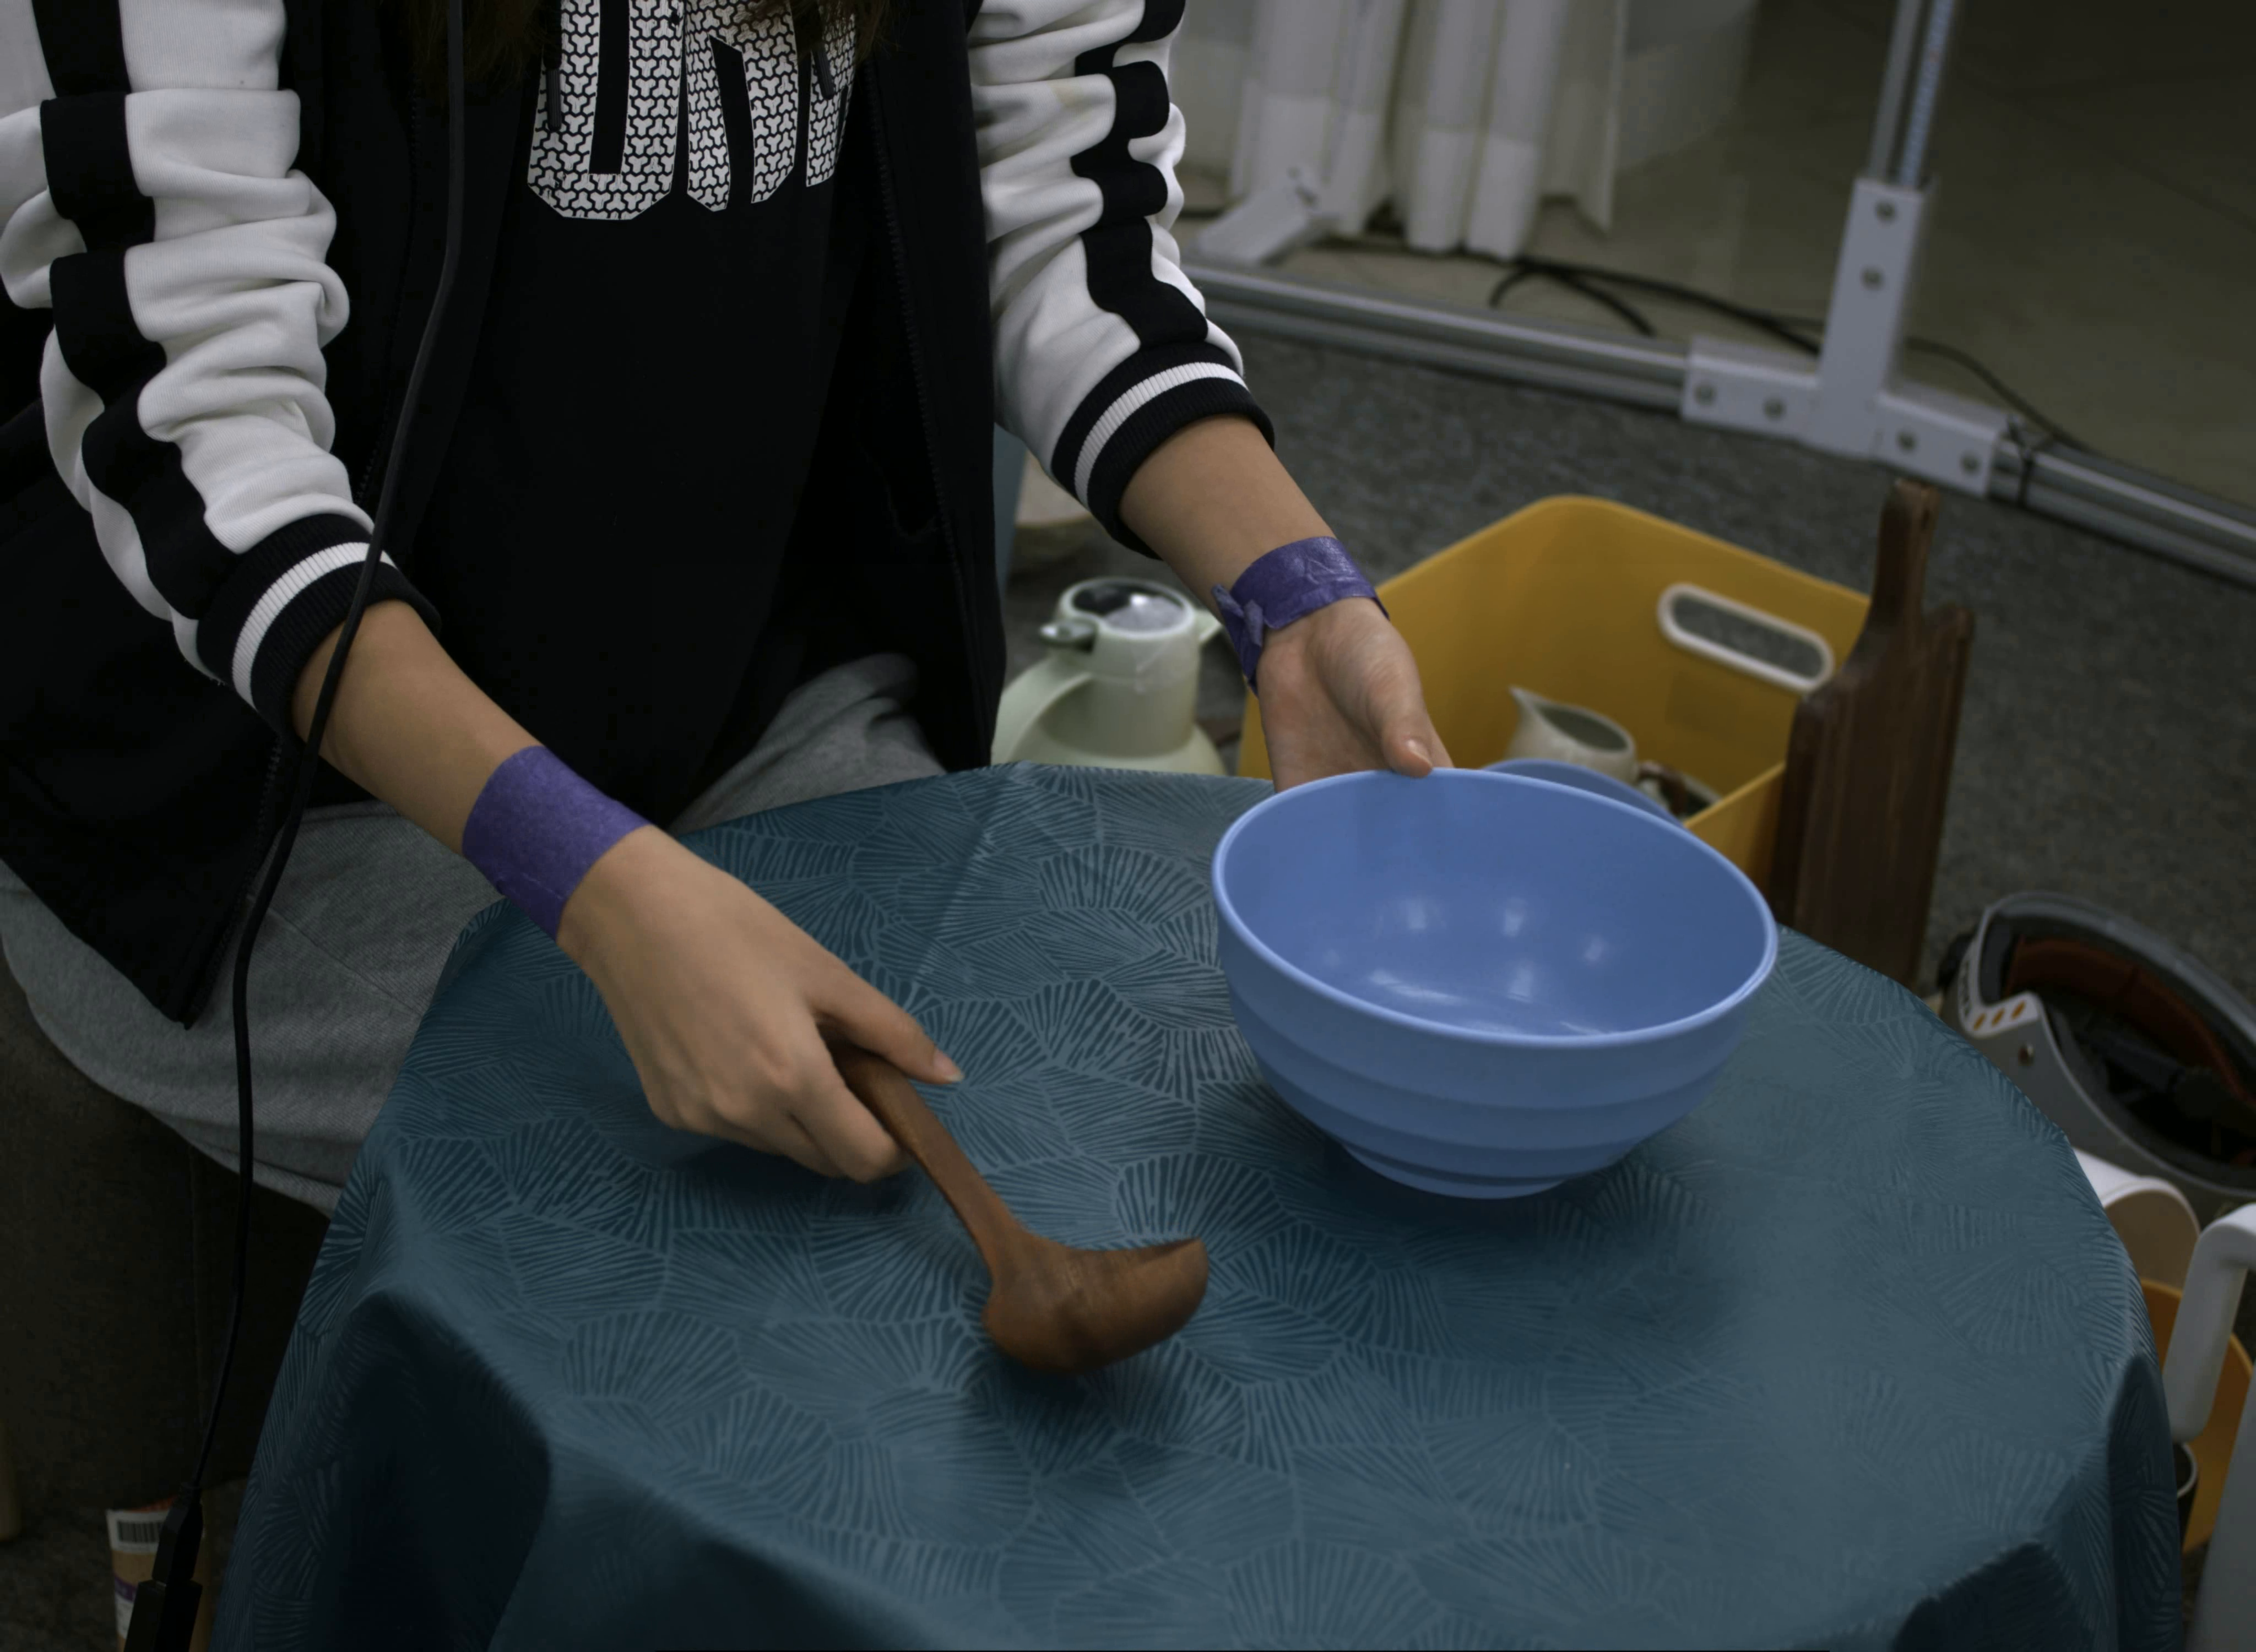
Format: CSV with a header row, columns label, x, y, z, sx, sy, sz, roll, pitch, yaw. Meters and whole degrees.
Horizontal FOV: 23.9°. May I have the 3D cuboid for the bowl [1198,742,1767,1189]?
label,x,y,z,sx,sy,sz,roll,pitch,yaw
bowl,0.118,0.062,1.847,0.196,0.095,0.198,3,33,-2

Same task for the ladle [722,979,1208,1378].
label,x,y,z,sx,sy,sz,roll,pitch,yaw
ladle,-0.063,0.102,1.751,0.076,0.065,0.262,-16,39,-28
